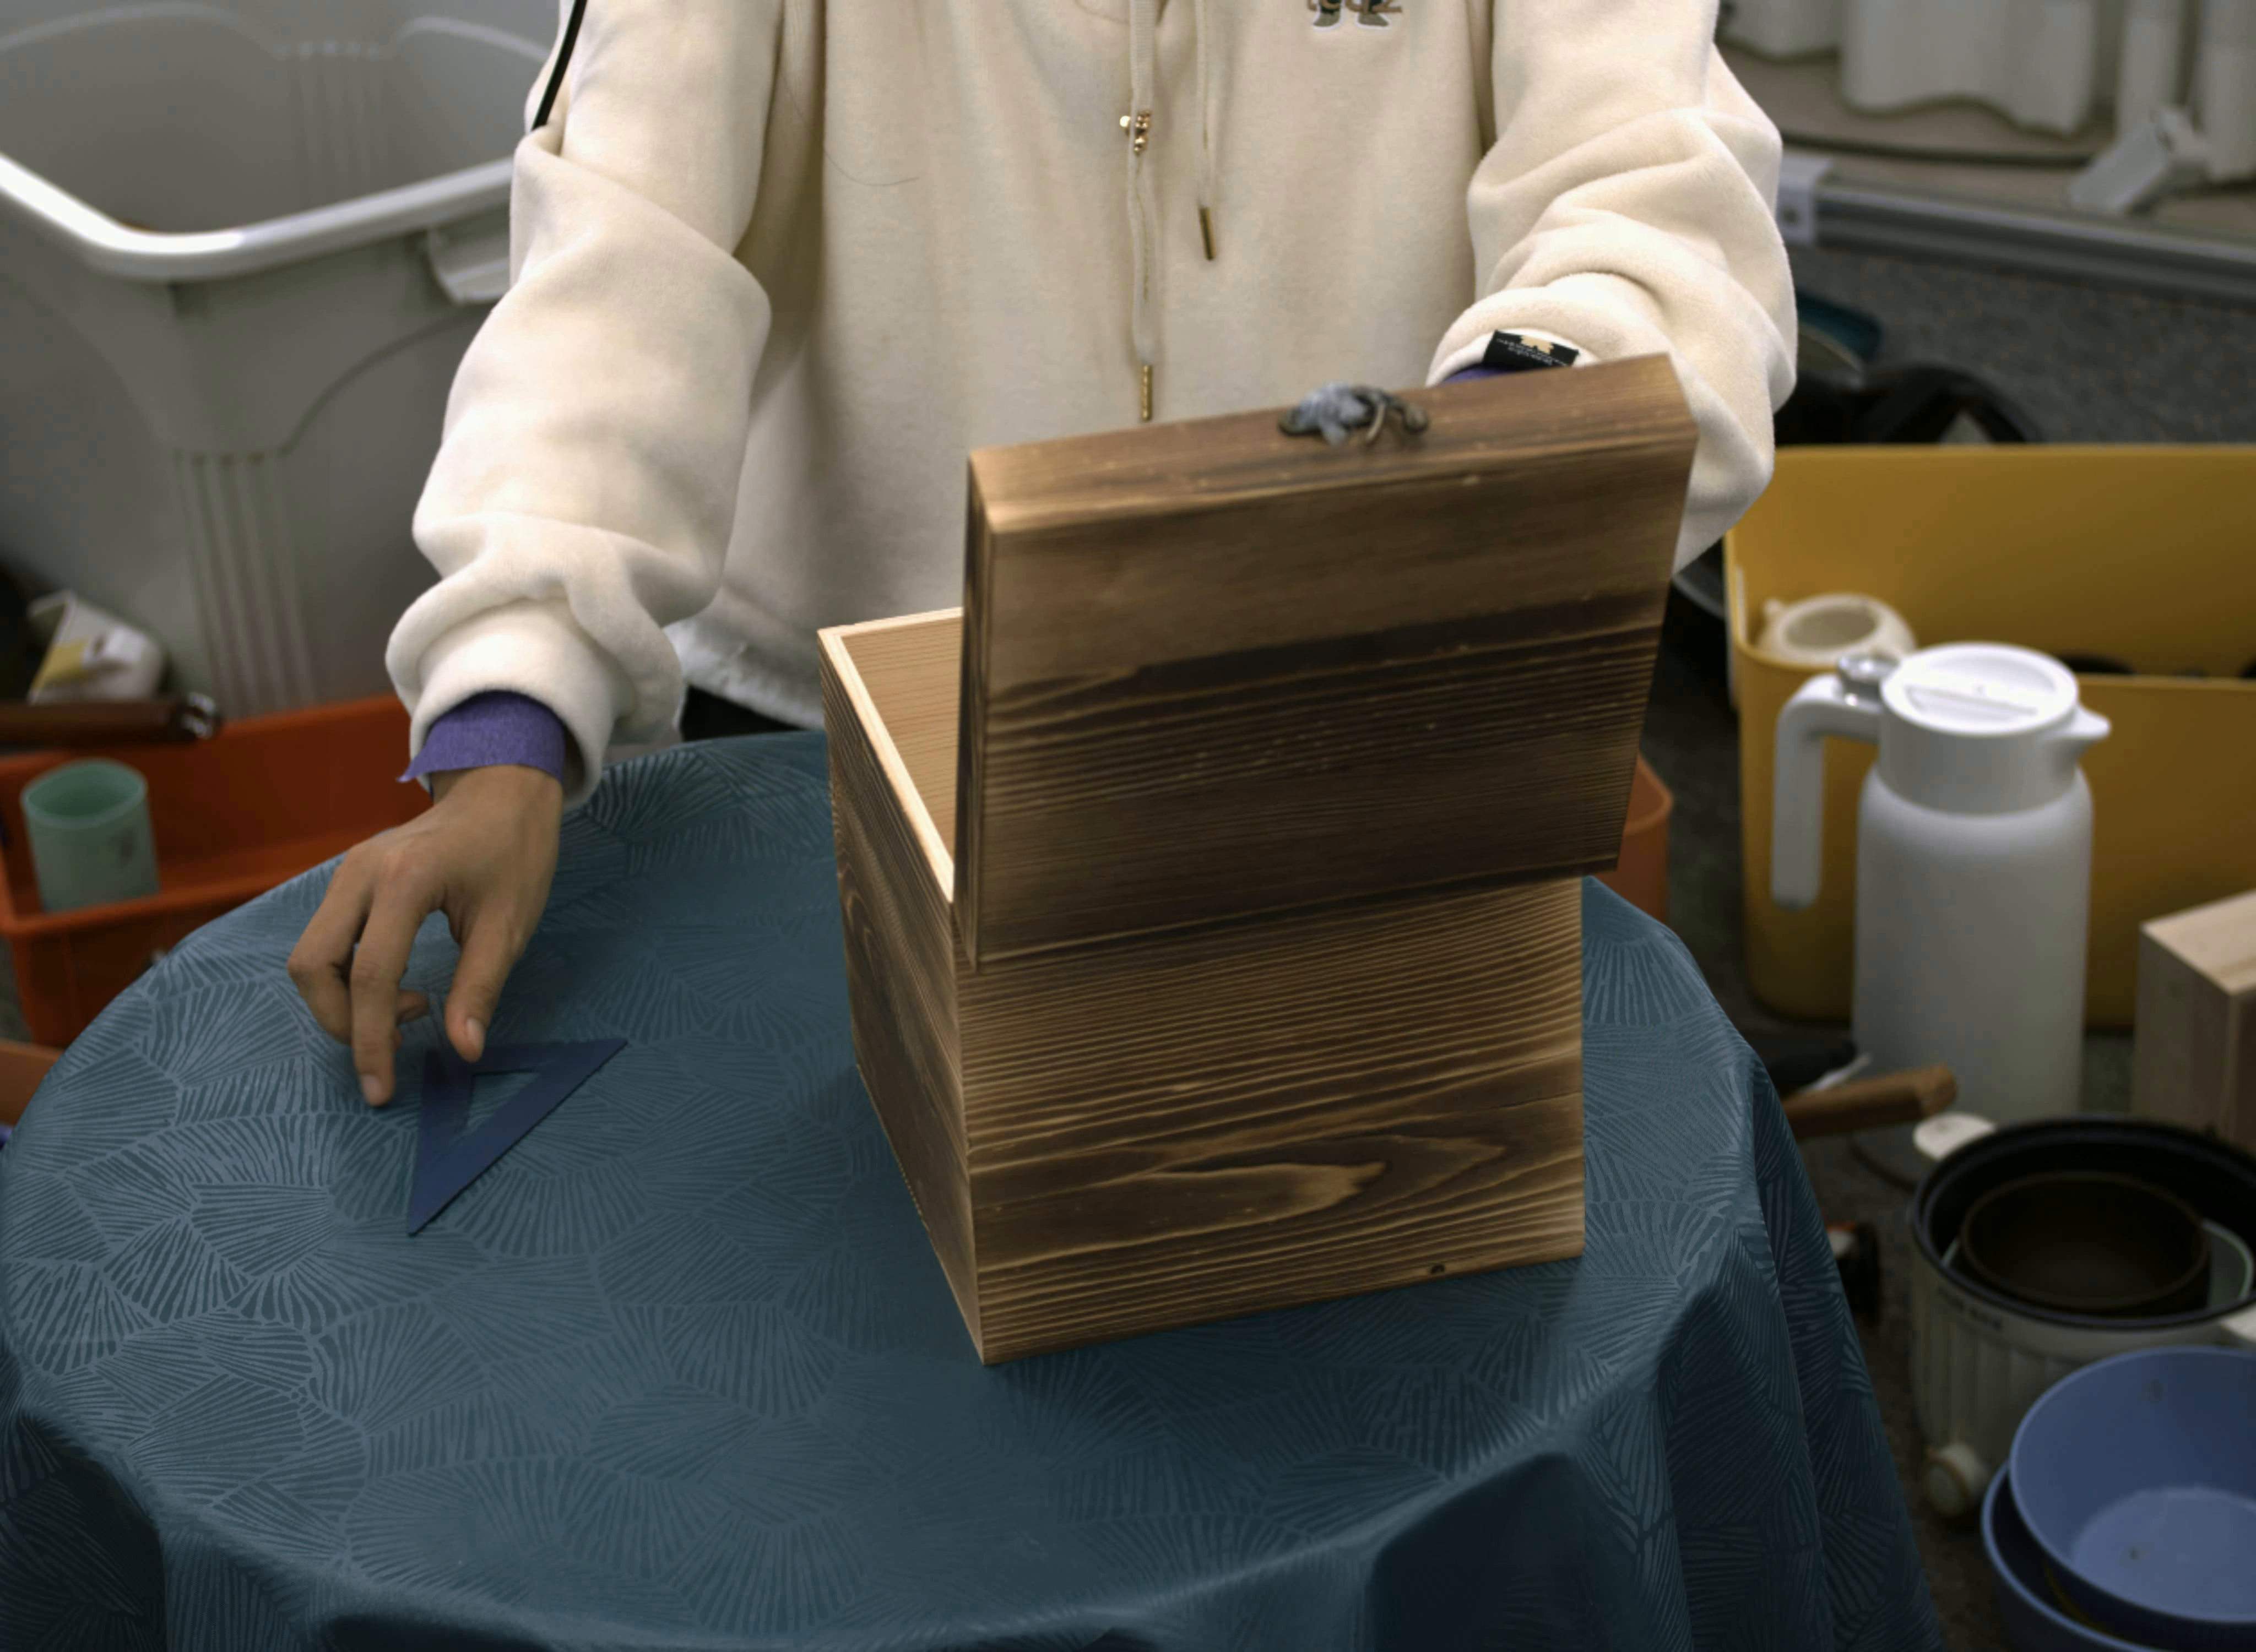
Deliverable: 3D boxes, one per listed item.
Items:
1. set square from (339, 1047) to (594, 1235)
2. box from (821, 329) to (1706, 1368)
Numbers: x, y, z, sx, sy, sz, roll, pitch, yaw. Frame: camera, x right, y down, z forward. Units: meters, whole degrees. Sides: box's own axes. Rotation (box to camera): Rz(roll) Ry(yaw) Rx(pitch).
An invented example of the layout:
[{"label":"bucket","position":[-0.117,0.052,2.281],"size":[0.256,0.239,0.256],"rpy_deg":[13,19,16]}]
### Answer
[{"label":"set square","position":[-0.242,0.102,1.916],"size":[0.061,0.006,0.134],"rpy_deg":[16,32,26]},{"label":"box","position":[0.032,-0.023,1.756],"size":[0.208,0.371,0.326],"rpy_deg":[-8,28,-12]}]
